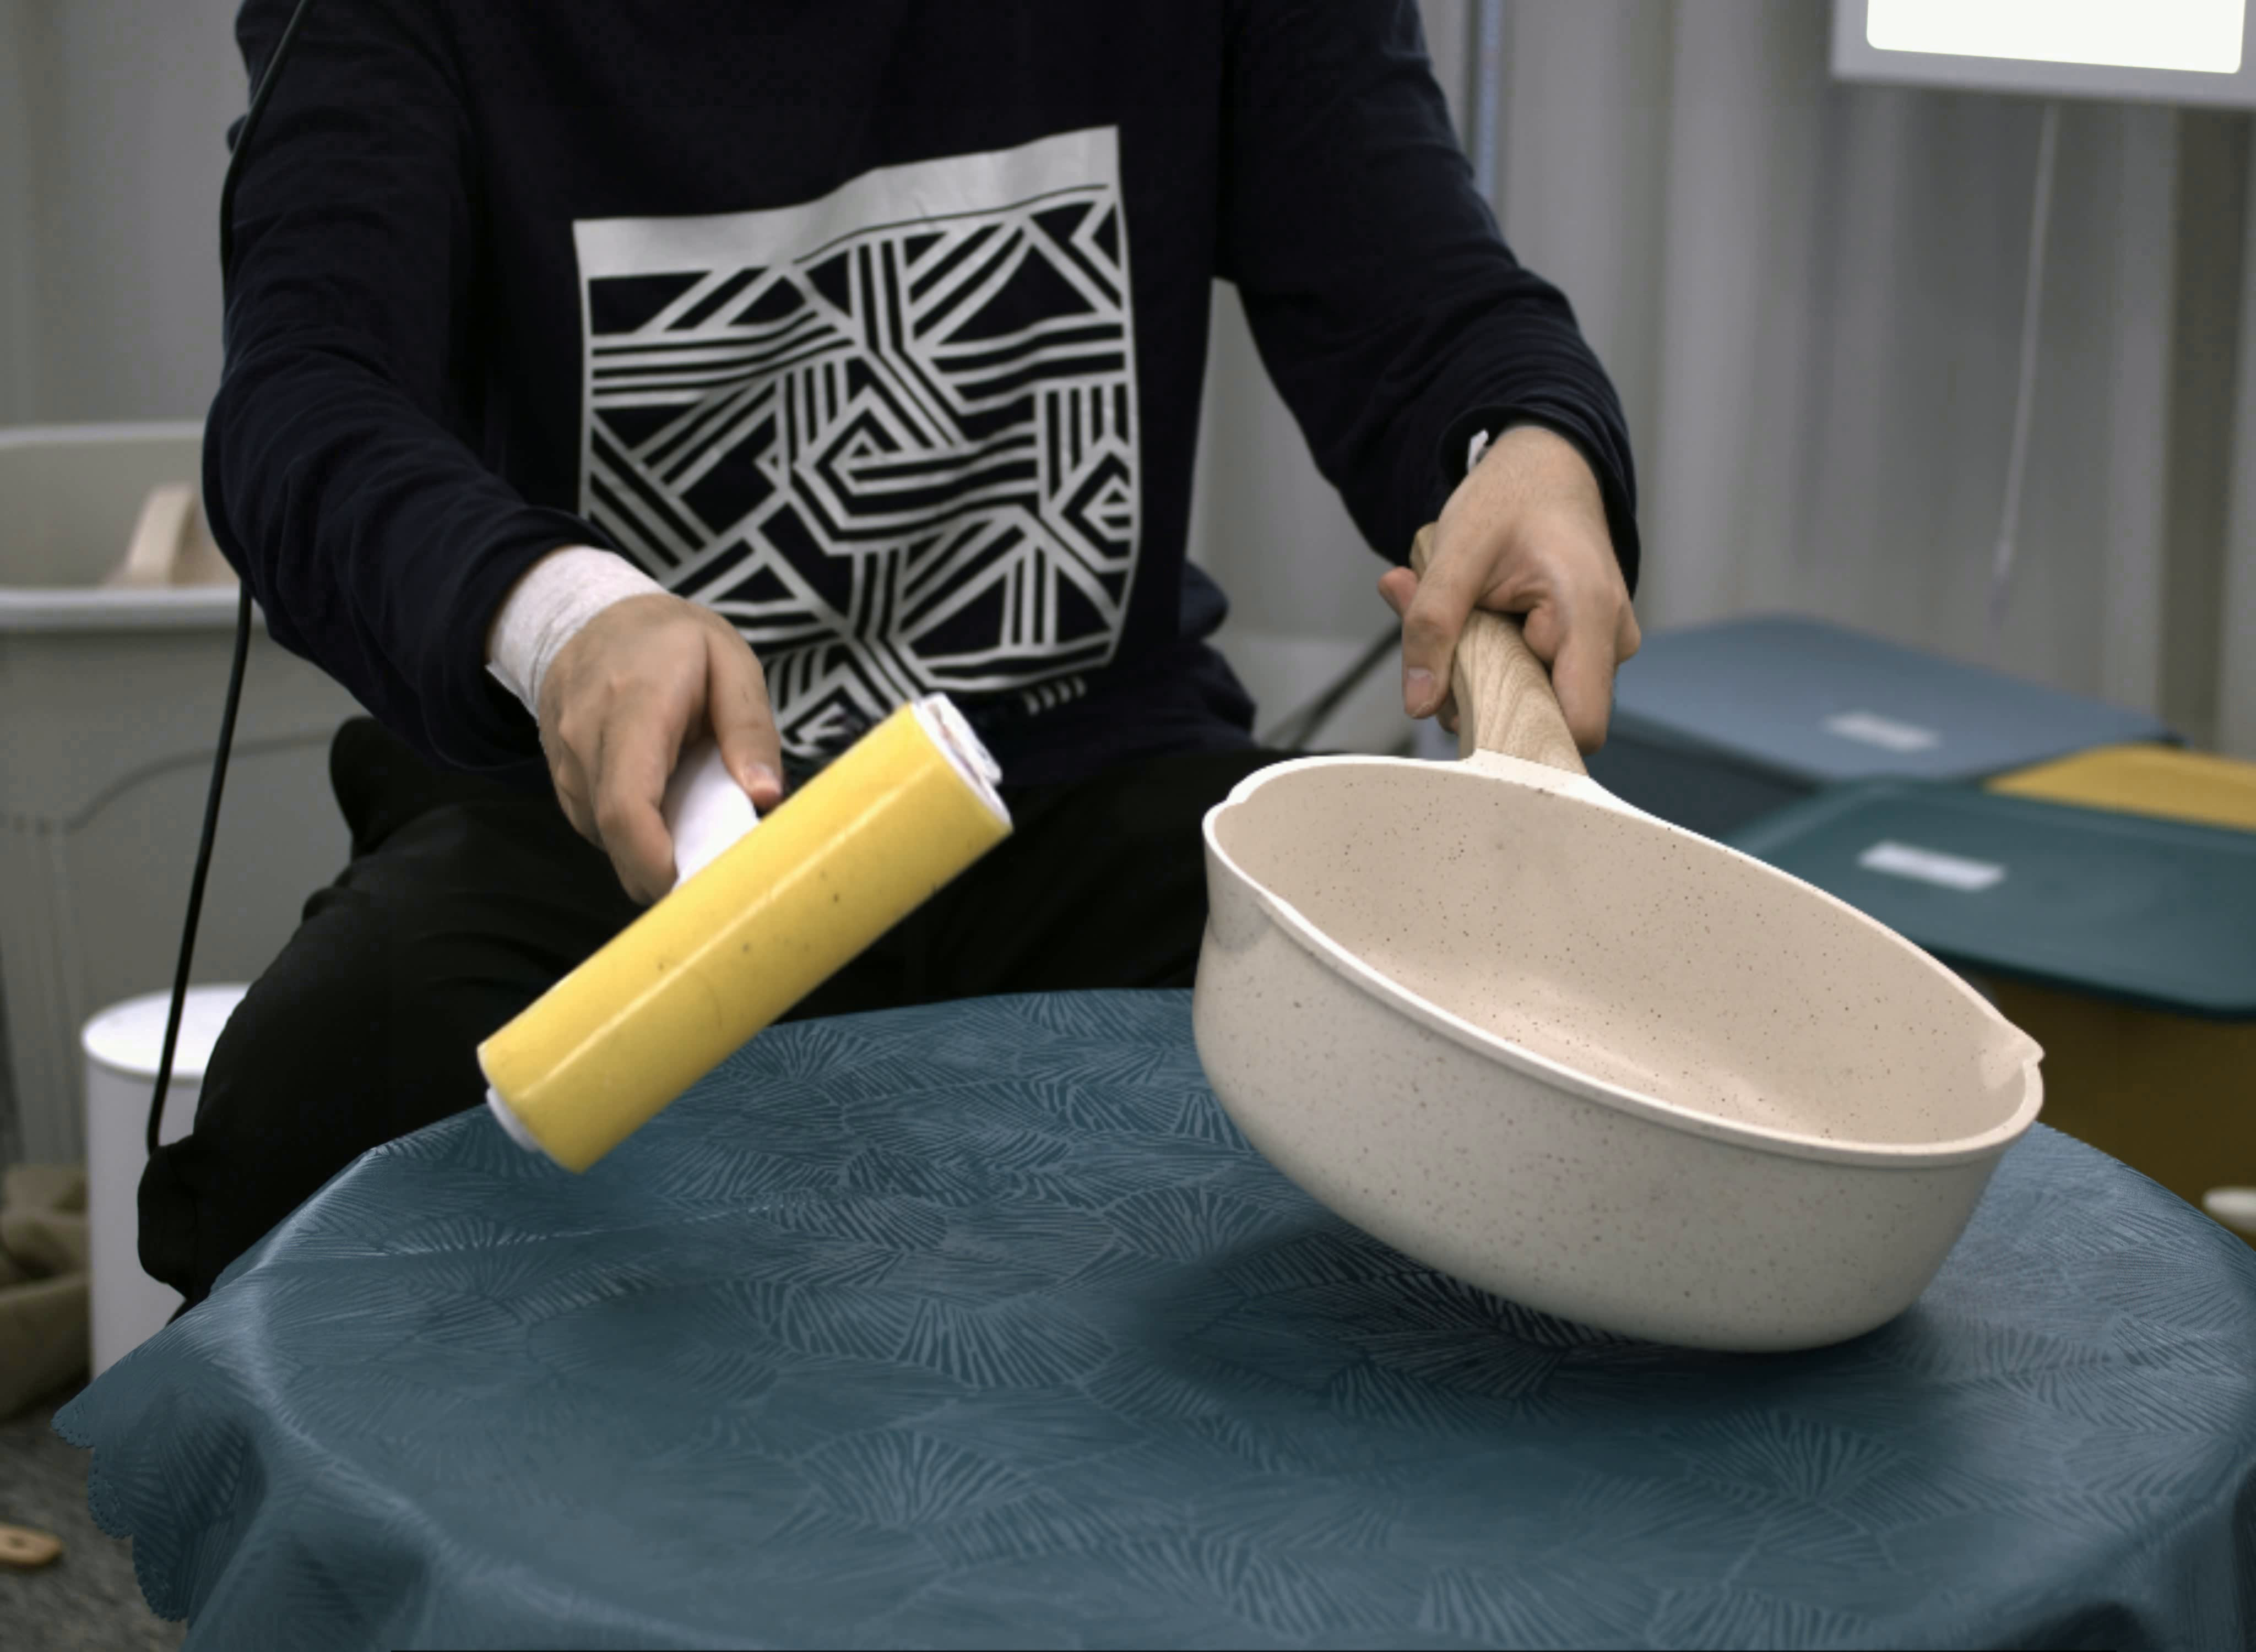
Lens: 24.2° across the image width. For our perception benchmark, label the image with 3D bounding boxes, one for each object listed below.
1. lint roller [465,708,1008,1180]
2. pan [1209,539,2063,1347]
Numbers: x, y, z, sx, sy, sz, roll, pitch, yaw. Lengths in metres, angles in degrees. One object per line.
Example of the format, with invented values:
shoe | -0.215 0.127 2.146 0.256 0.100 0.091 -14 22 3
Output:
lint roller | -0.129 0.006 1.557 0.174 0.052 0.190 -38 30 4
pan | 0.128 0.029 1.614 0.264 0.102 0.431 12 20 -14
